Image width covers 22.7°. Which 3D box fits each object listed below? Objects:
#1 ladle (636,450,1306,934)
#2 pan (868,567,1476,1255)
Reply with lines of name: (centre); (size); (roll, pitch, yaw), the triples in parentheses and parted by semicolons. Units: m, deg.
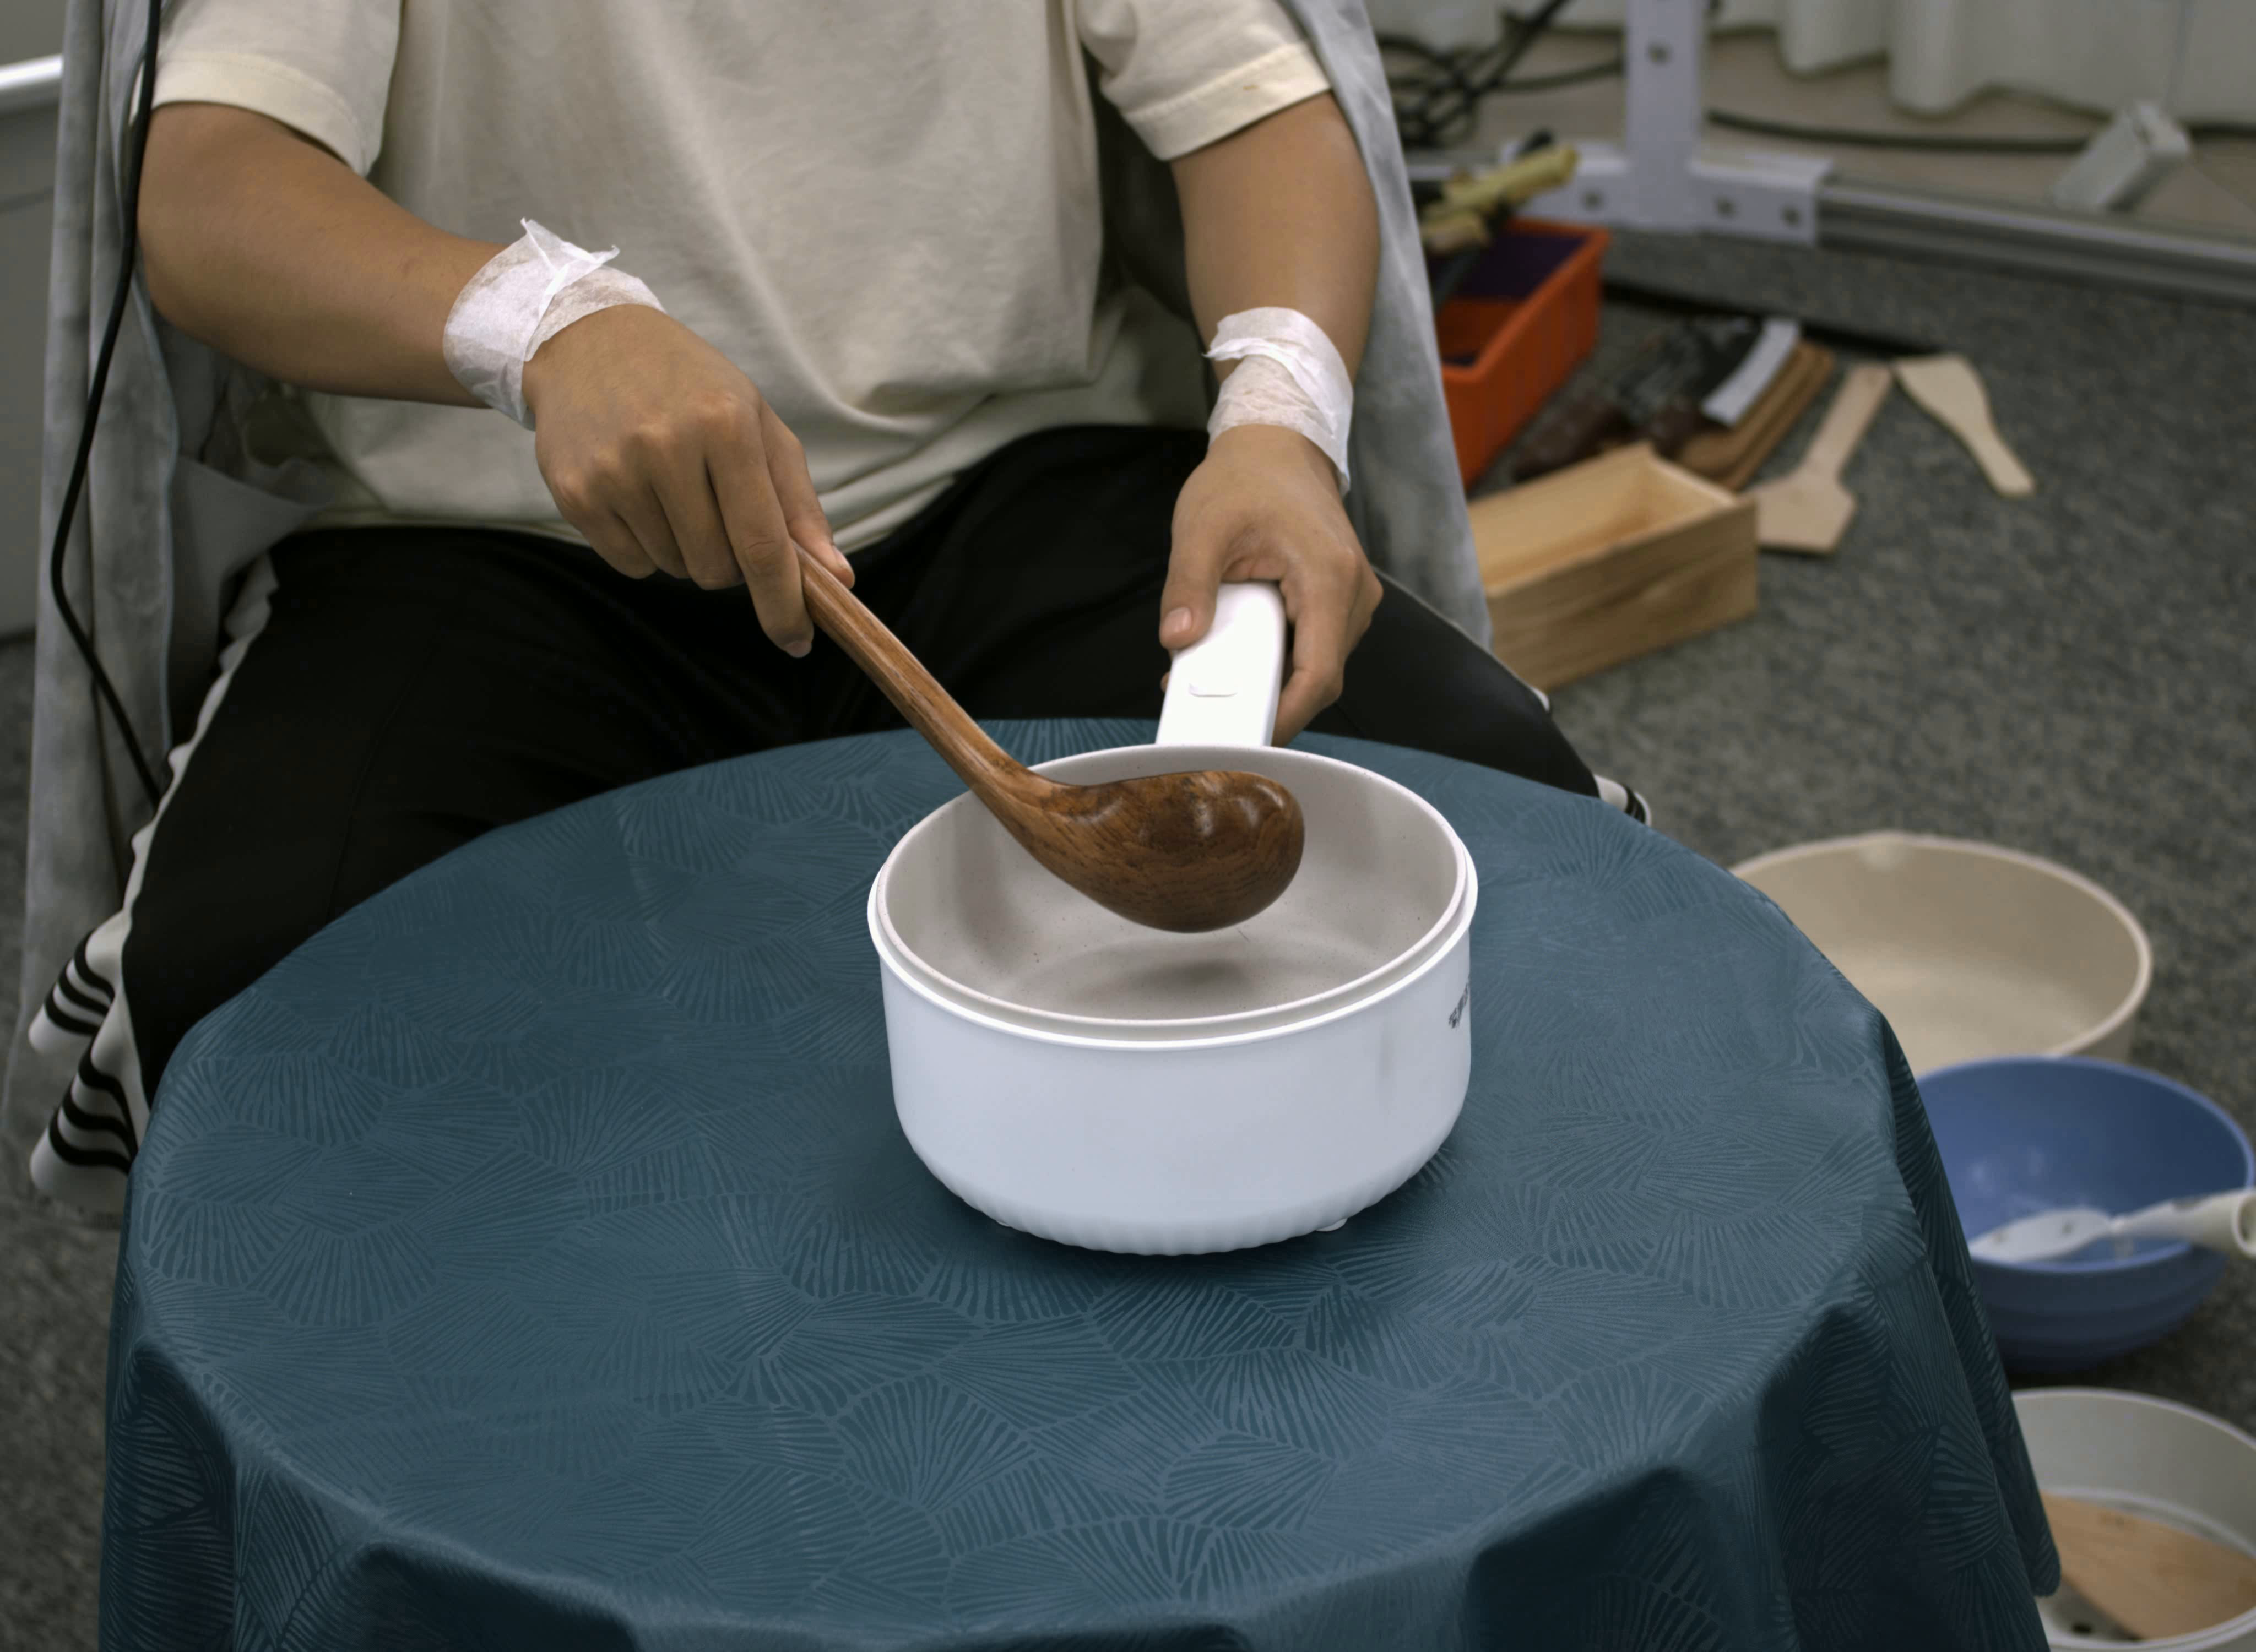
ladle: (-0.052, -0.059, 1.922); (0.077, 0.080, 0.275); (-31, 60, -31)
pan: (0.026, 0.026, 1.937); (0.200, 0.101, 0.360); (0, 26, 7)
